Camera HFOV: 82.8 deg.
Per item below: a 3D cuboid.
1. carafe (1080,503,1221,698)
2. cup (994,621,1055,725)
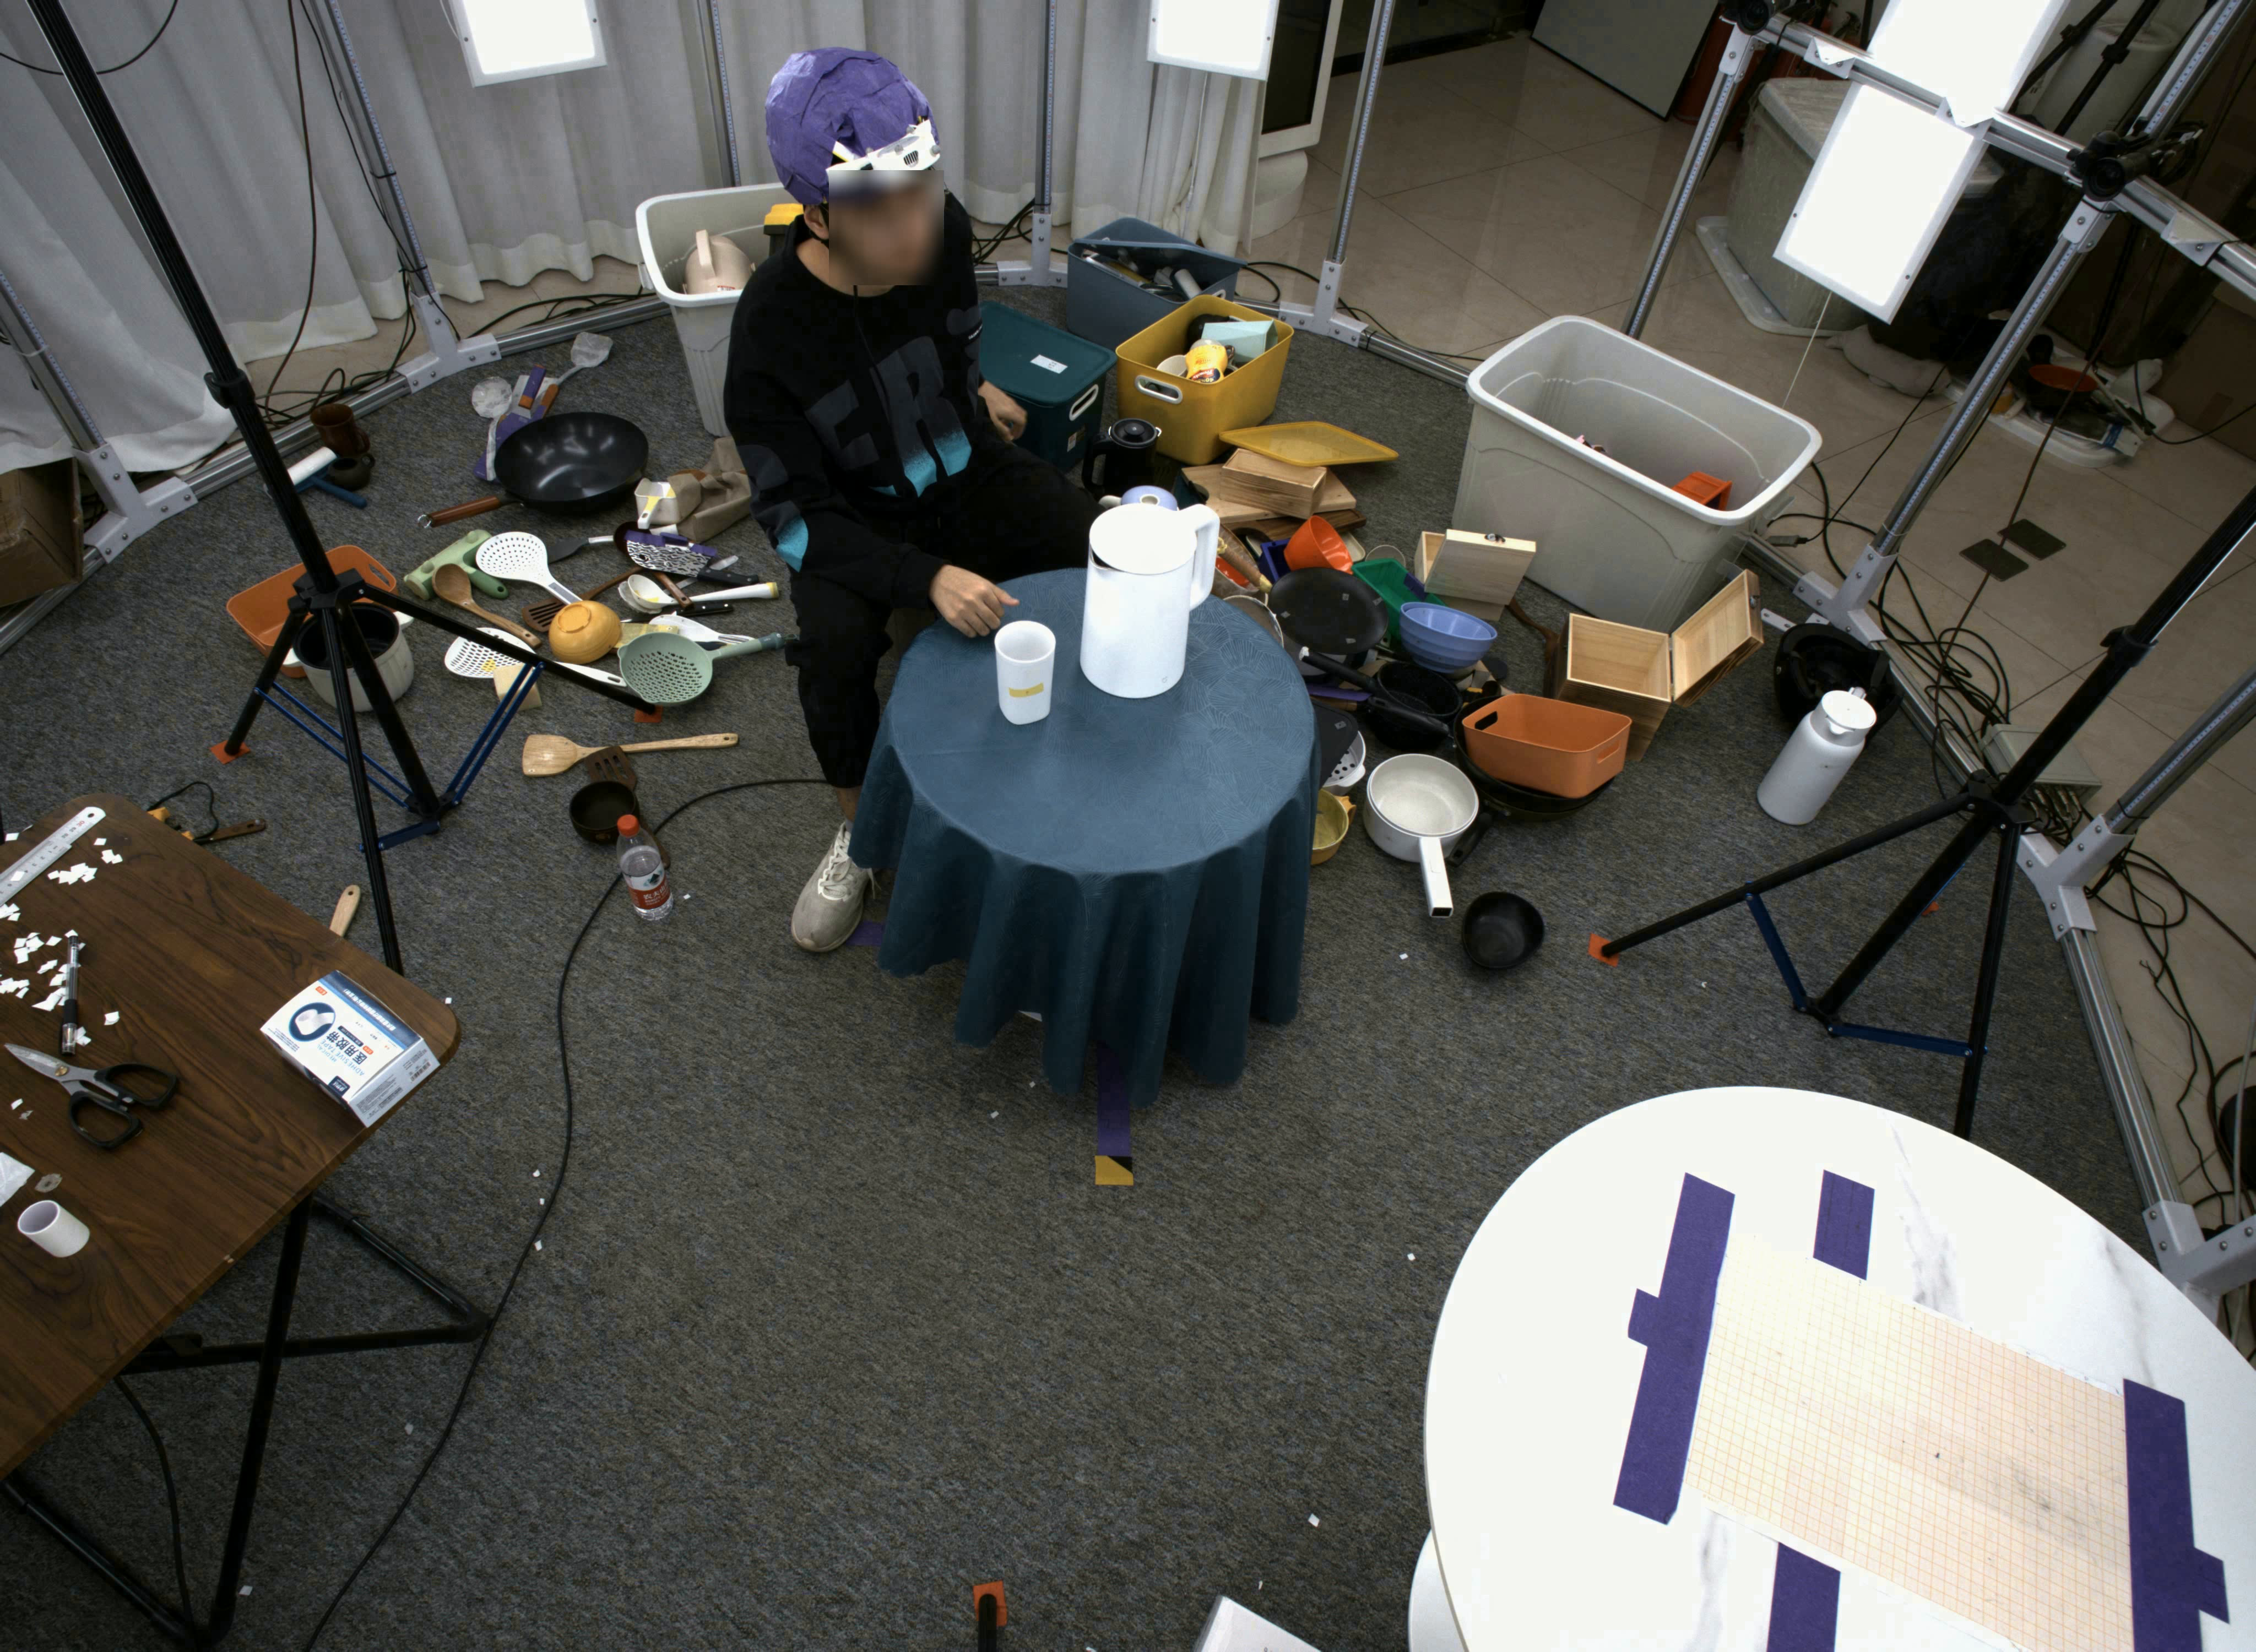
[{"bbox_3d":[0.035,-0.323,1.801,0.214,0.234,0.155,-29,59,-25],"label":"carafe"},{"bbox_3d":[-0.141,-0.207,1.758,0.081,0.122,0.084,2,49,-3],"label":"cup"}]
